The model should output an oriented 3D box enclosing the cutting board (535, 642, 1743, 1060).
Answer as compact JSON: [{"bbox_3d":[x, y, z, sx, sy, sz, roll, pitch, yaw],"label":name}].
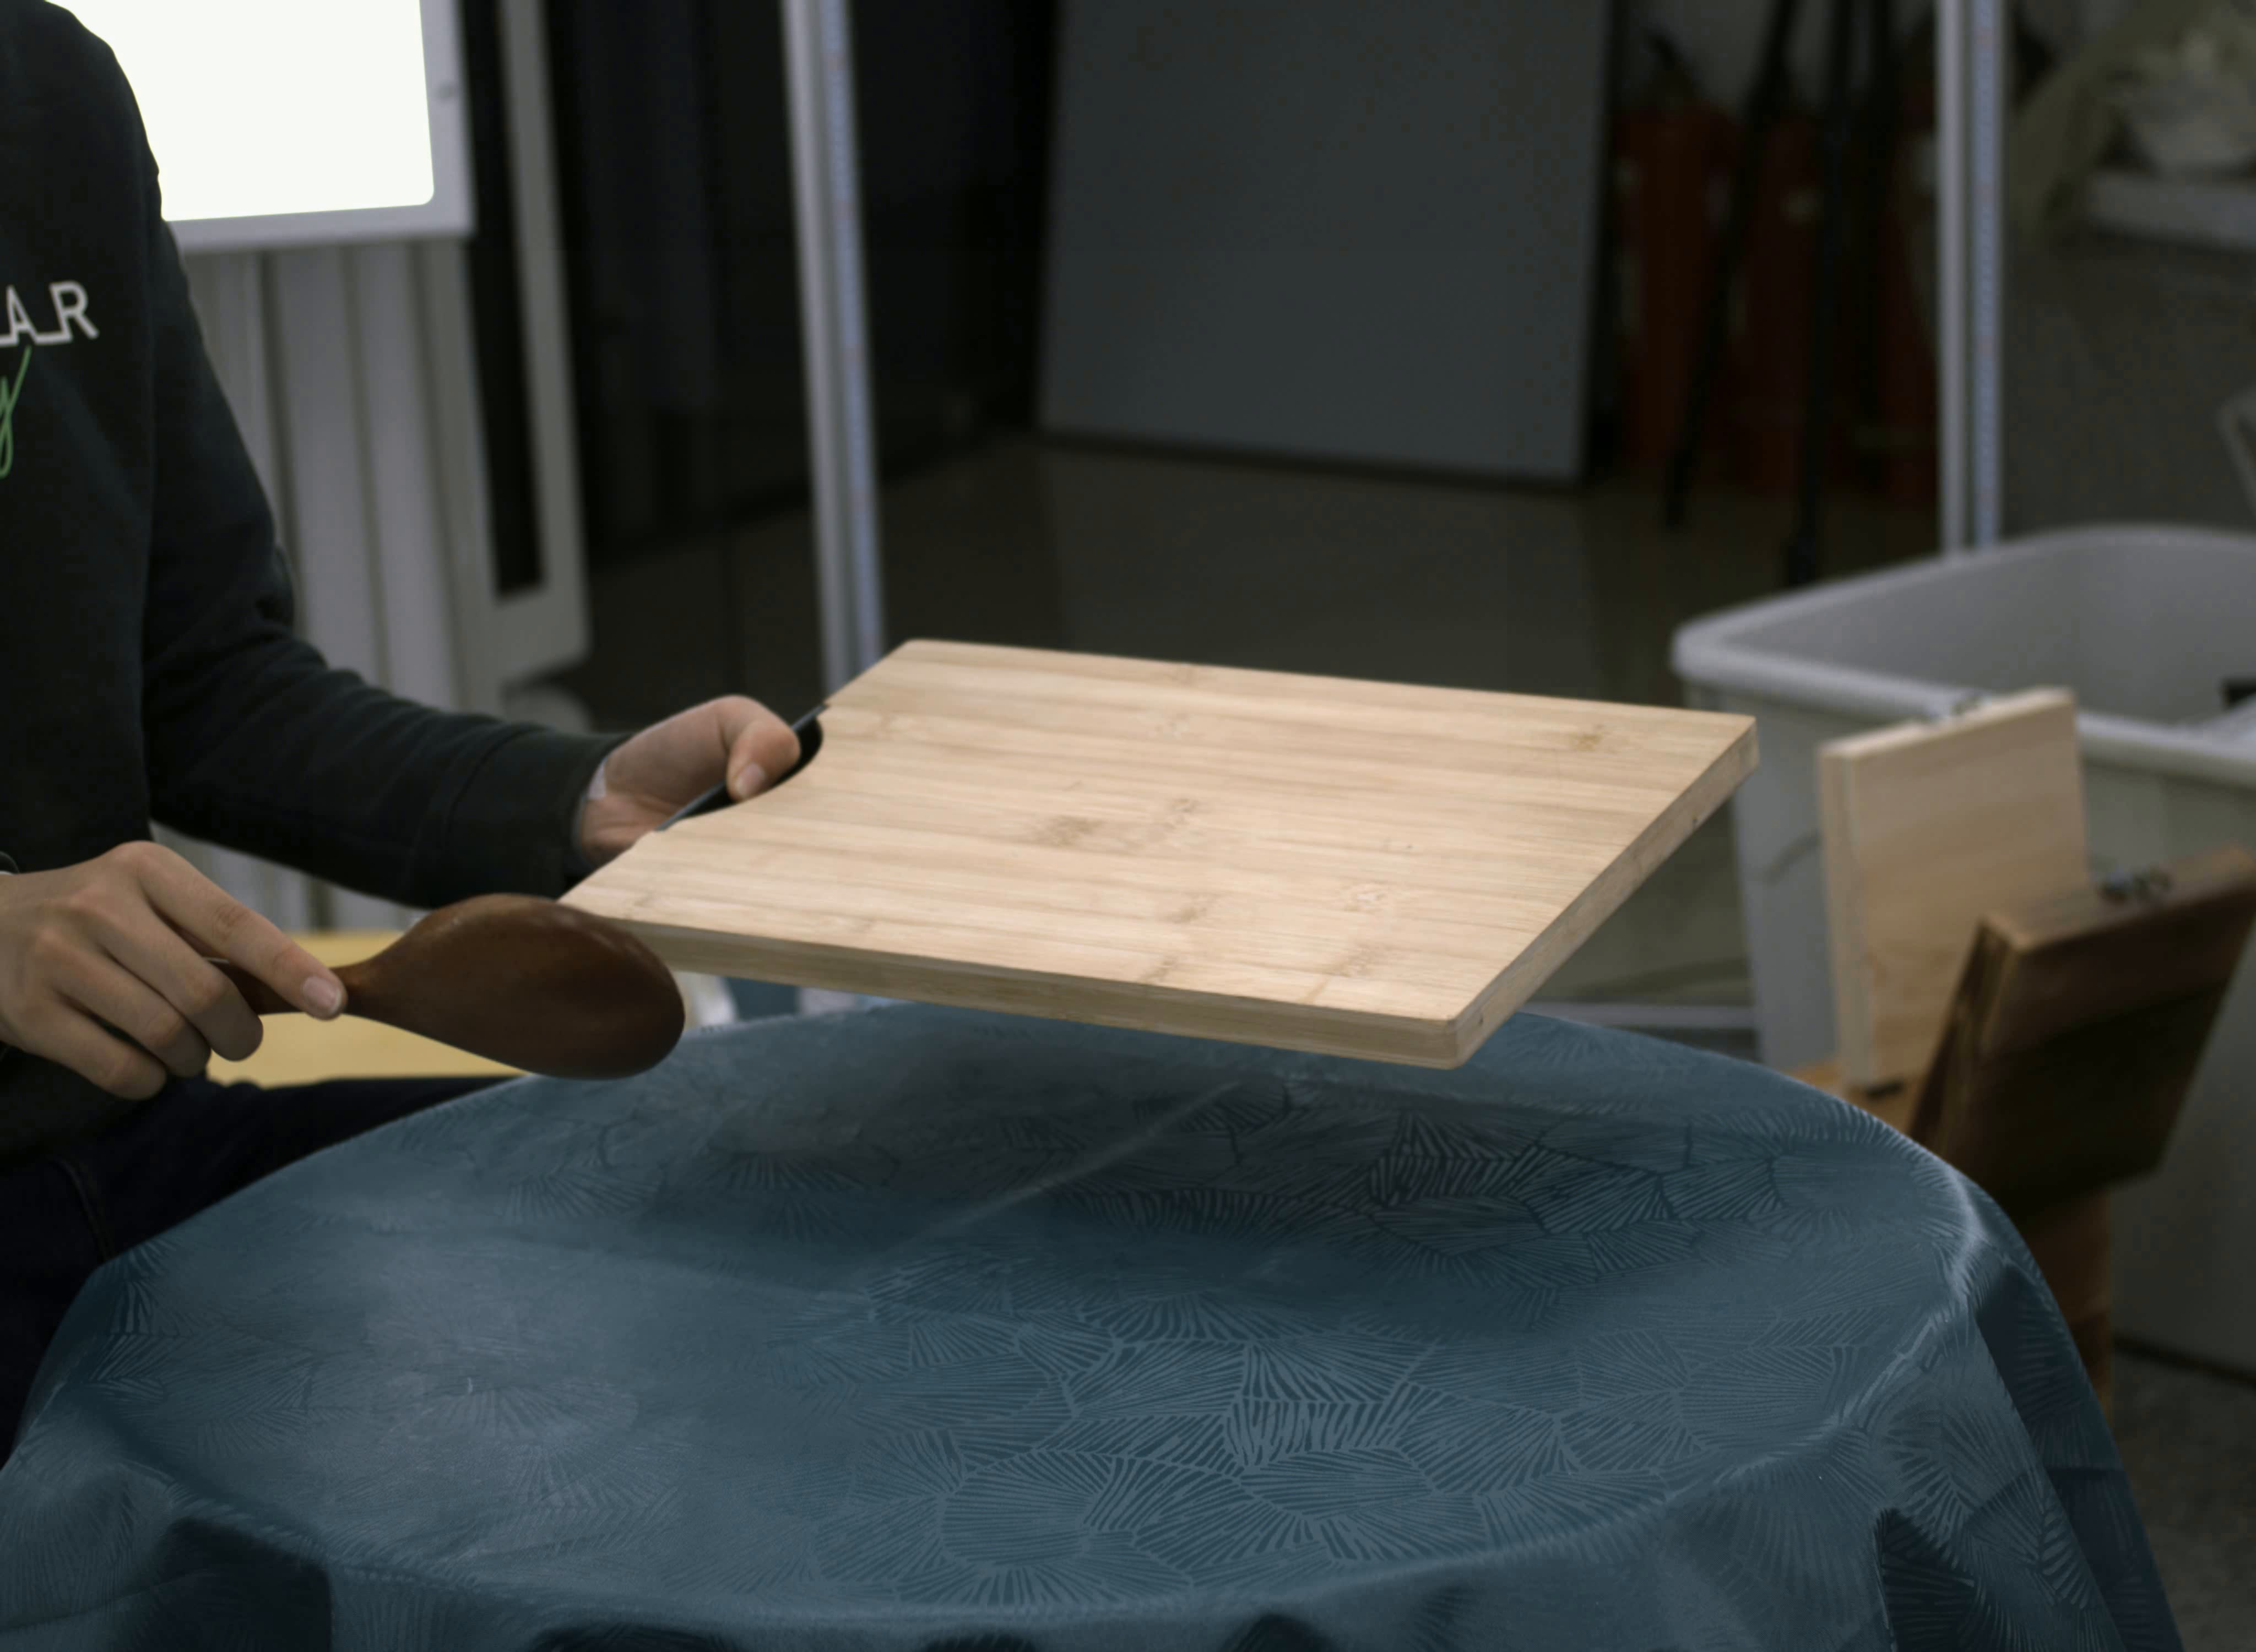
[{"bbox_3d":[0.004,0.003,1.812,0.350,0.024,0.248,5,26,30],"label":"cutting board"}]

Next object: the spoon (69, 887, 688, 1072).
[{"bbox_3d":[-0.224,0.048,1.594,0.216,0.075,0.017,-1,45,30],"label":"spoon"}]
